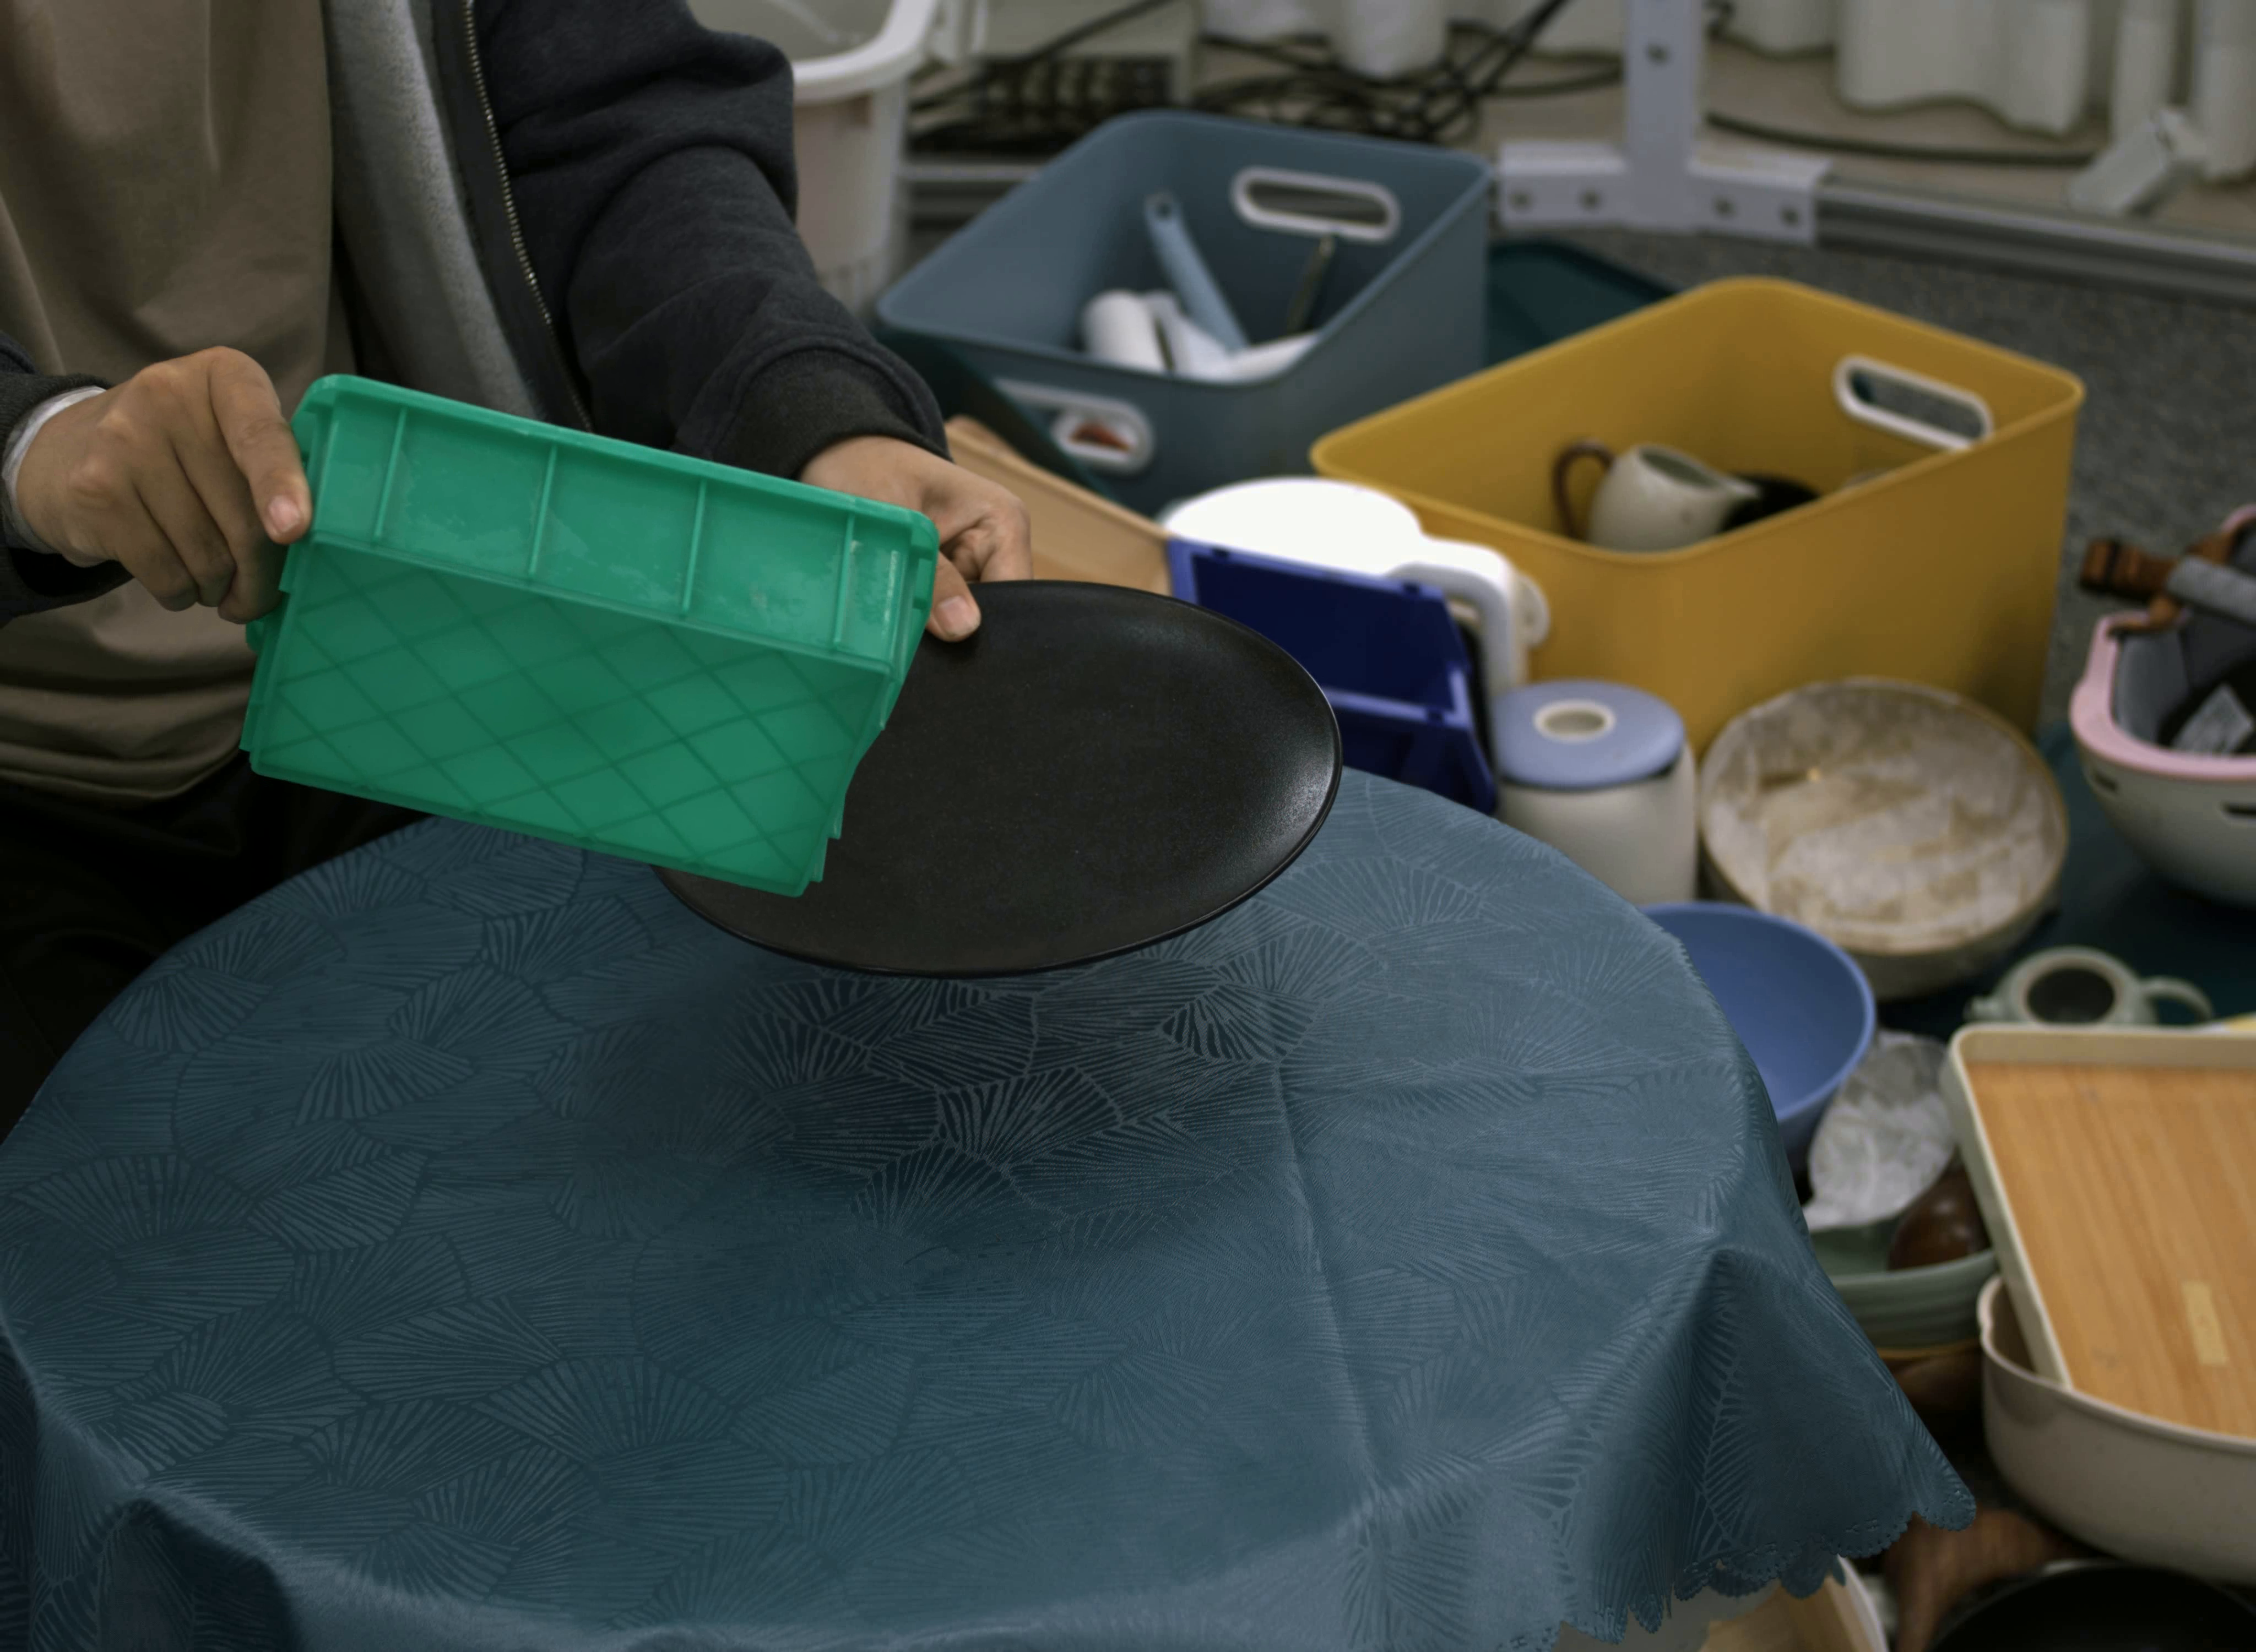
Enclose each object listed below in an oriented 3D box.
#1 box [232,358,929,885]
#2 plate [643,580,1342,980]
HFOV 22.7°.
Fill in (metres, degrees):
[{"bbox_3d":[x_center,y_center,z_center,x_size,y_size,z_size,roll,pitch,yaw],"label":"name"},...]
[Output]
[{"bbox_3d":[-0.174,-0.057,1.751,0.210,0.136,0.066,13,47,-12],"label":"box"},{"bbox_3d":[-0.047,-0.012,1.926,0.243,0.023,0.249,-3,33,3],"label":"plate"}]
